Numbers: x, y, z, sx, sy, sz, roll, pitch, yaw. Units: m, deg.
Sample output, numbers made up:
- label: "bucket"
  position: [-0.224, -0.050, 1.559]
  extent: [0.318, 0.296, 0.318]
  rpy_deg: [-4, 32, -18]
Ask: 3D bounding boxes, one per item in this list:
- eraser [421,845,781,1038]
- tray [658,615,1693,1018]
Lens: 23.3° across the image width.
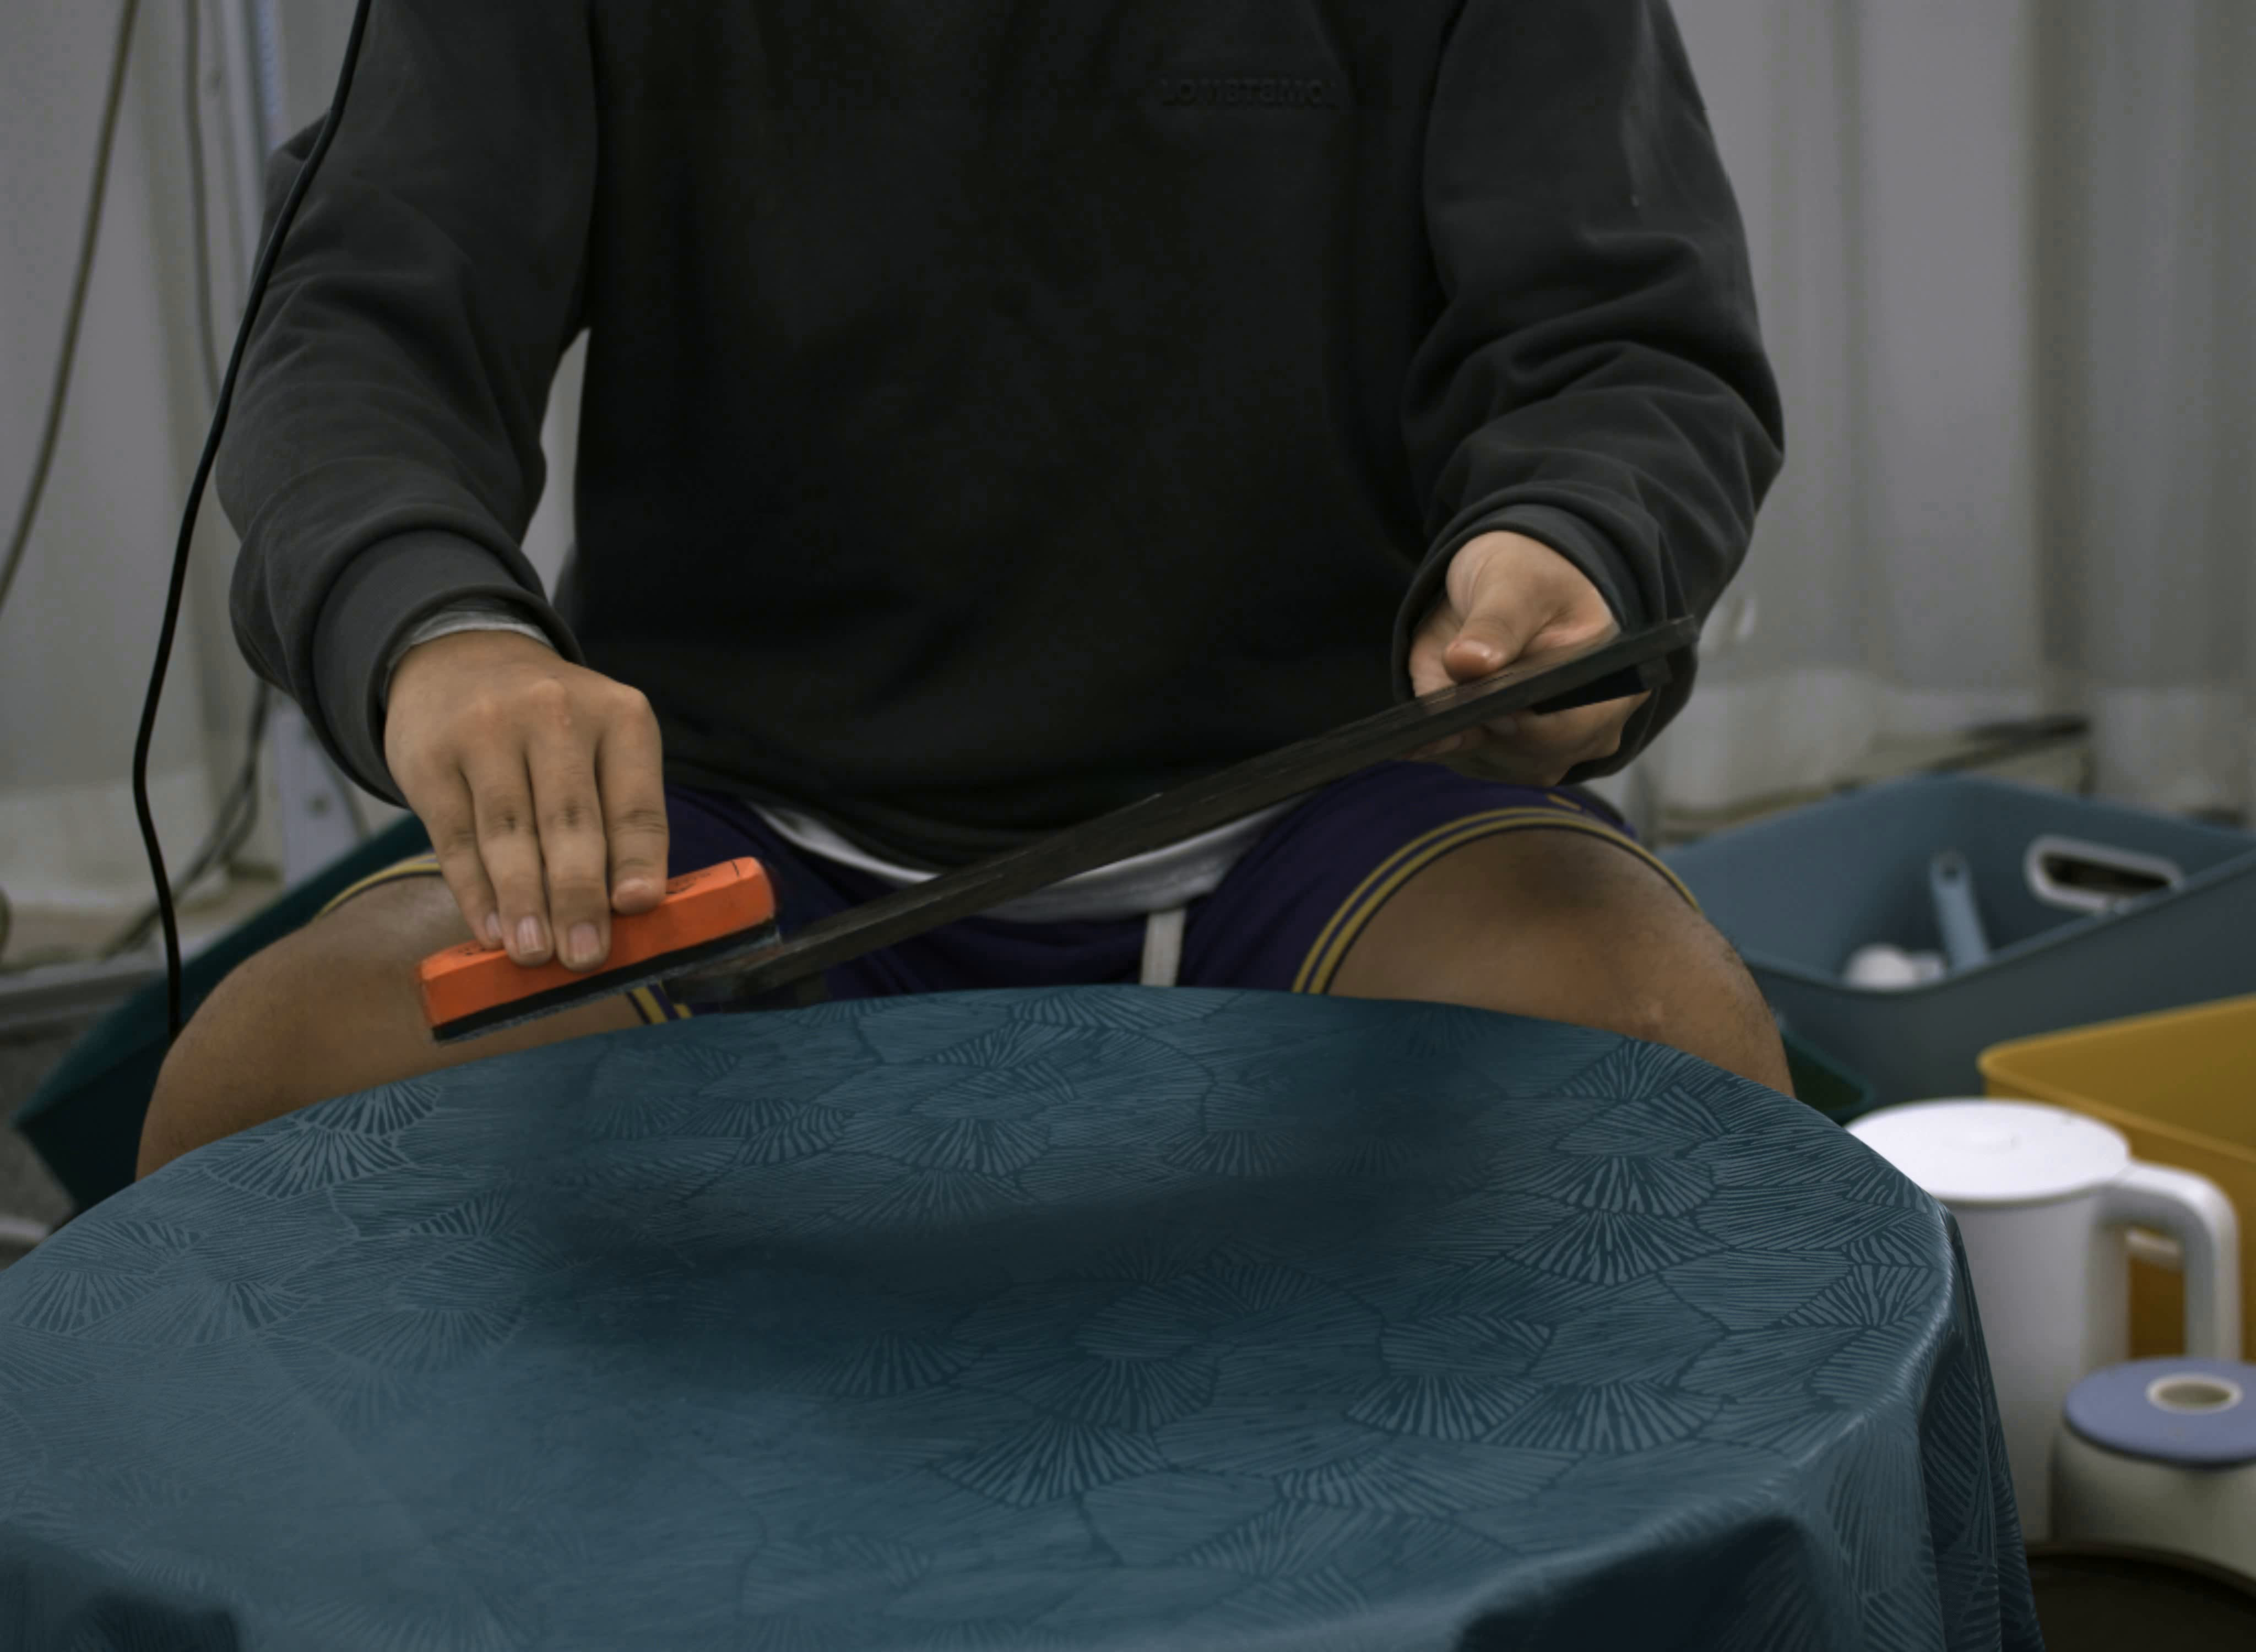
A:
- label: "eraser"
  position: [-0.161, 0.035, 1.665]
  extent: [0.108, 0.023, 0.059]
  rpy_deg: [-18, 8, -5]
- label: "tray"
  position: [0.012, 0.001, 1.637]
  extent: [0.305, 0.018, 0.170]
  rpy_deg: [-21, 2, -12]
